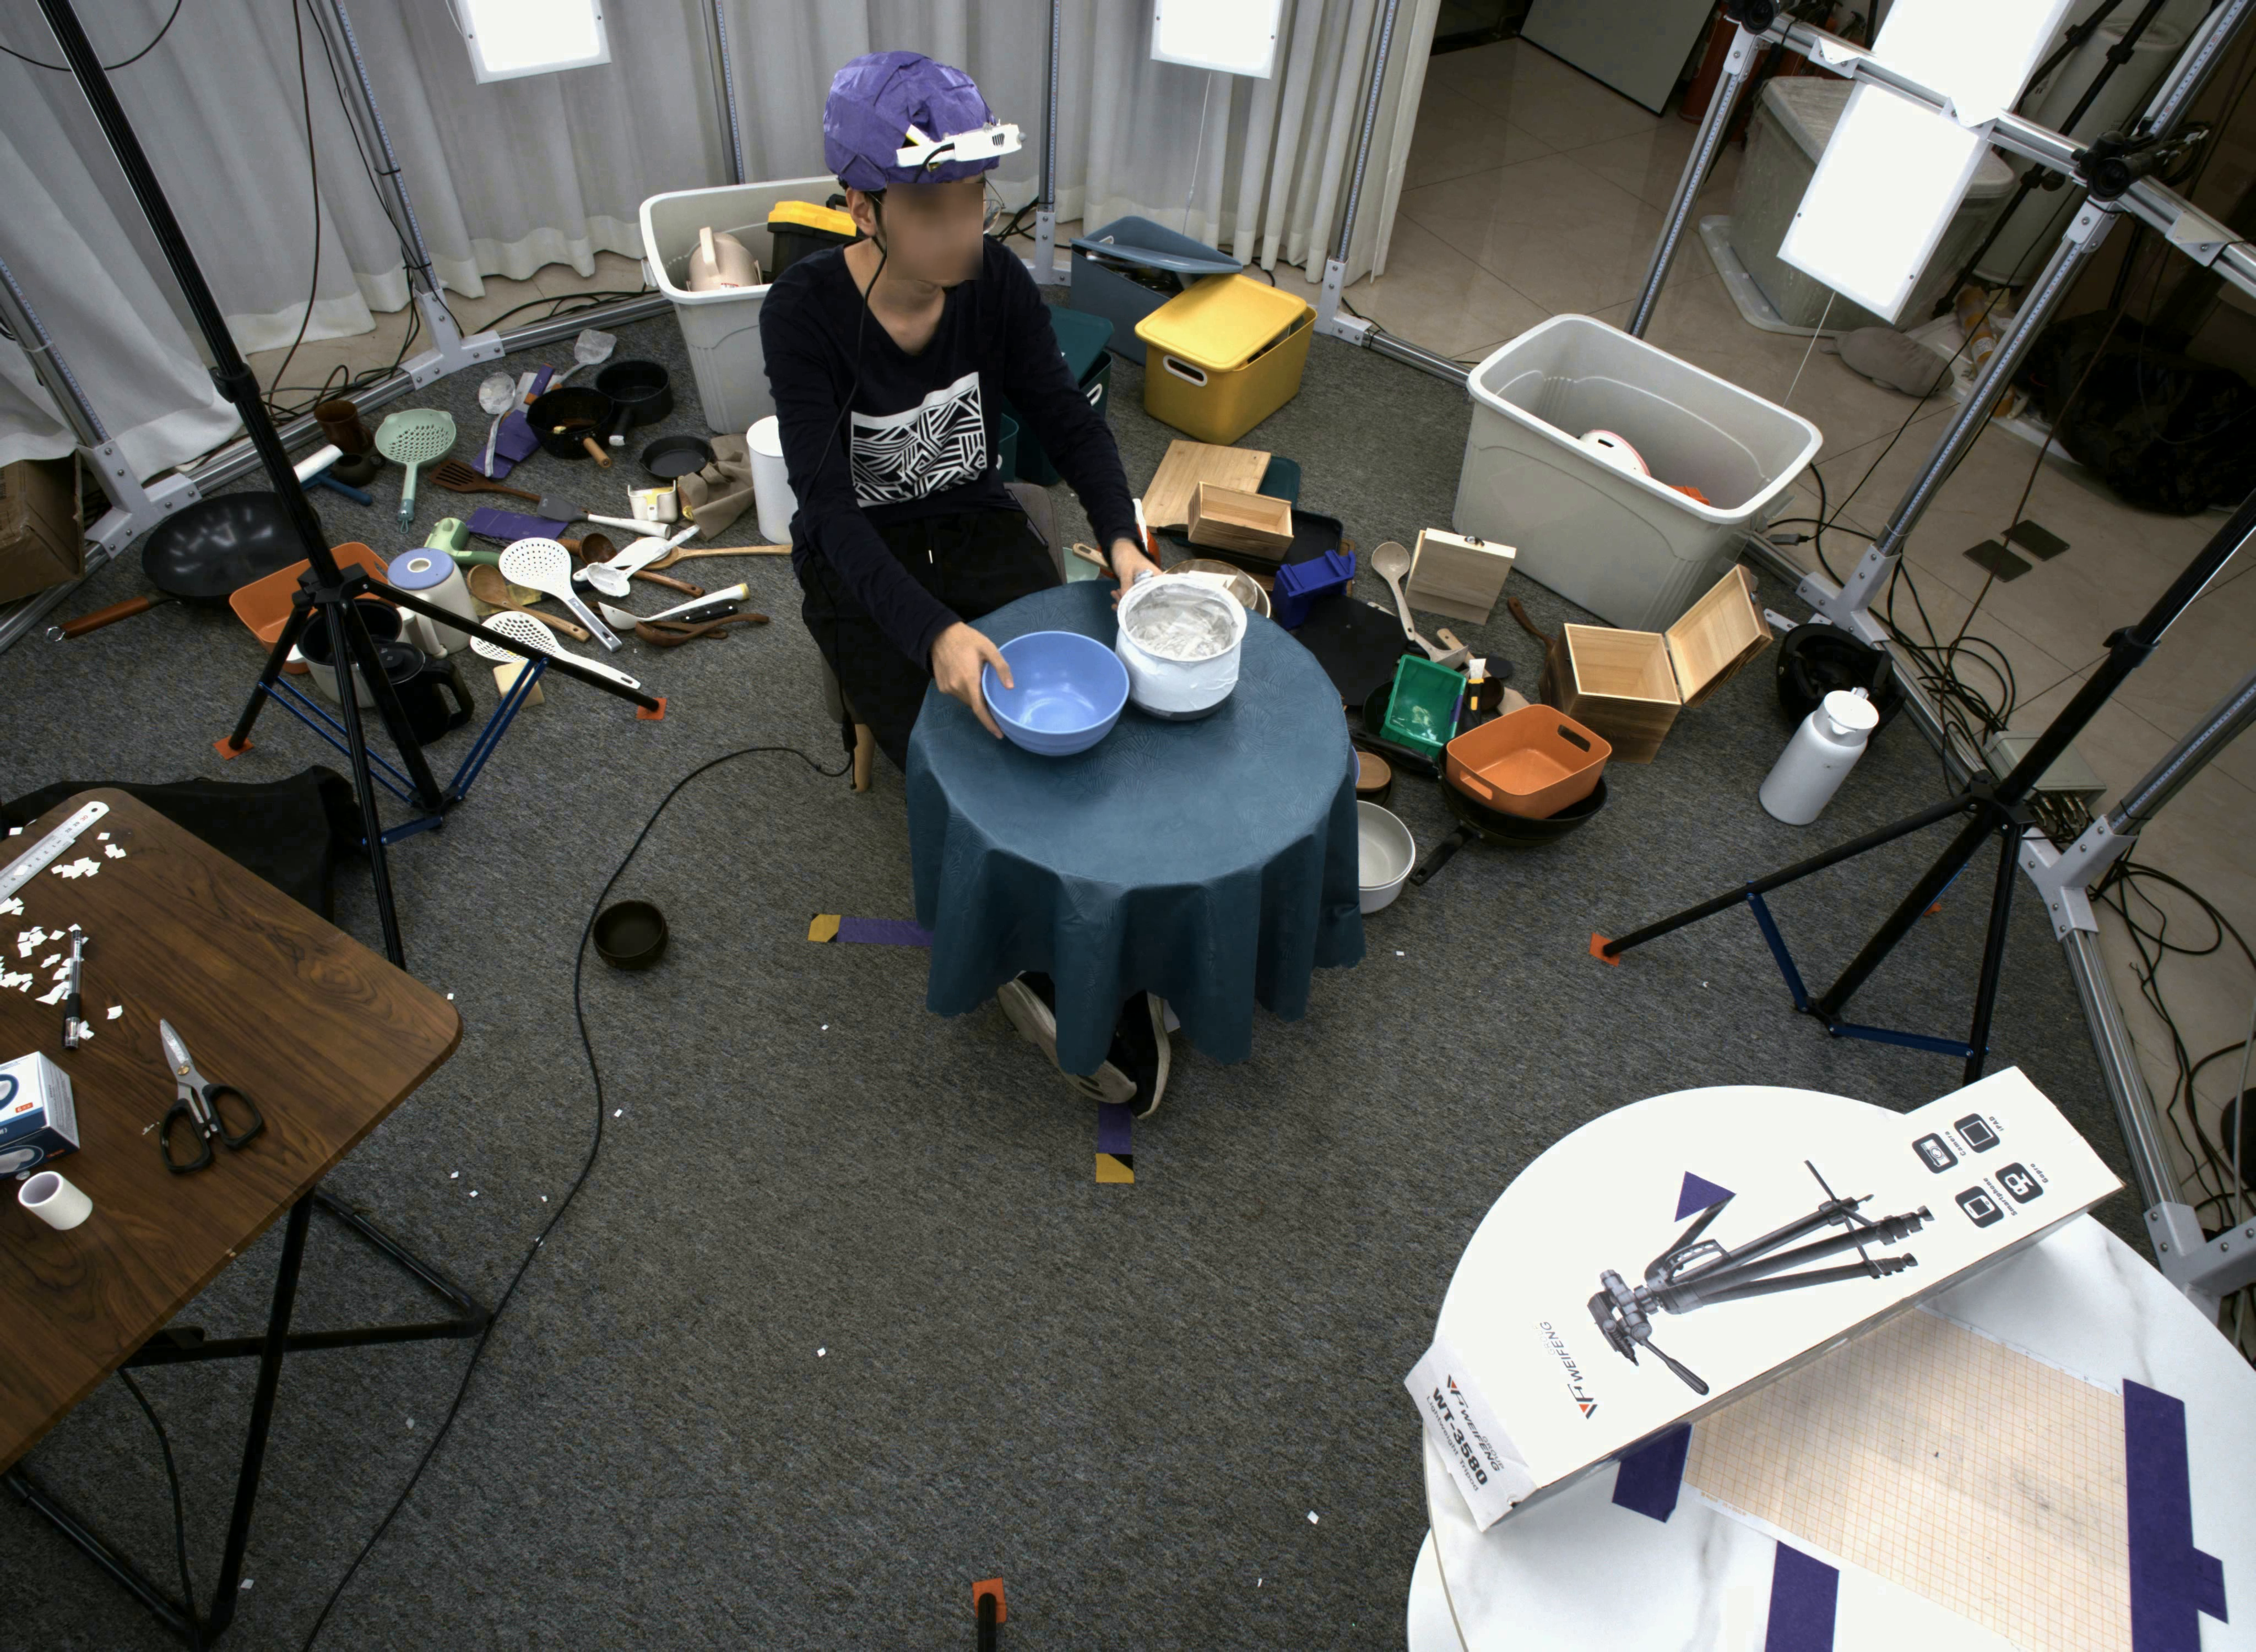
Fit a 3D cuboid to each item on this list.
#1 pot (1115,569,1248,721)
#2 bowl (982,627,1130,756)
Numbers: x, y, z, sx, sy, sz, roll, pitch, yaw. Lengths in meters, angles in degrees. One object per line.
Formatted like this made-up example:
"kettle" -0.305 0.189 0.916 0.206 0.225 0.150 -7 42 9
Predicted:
"pot" 0.057 -0.265 1.813 0.179 0.133 0.239 -20 54 -23
"bowl" -0.098 -0.167 1.739 0.196 0.093 0.201 2 53 -3
